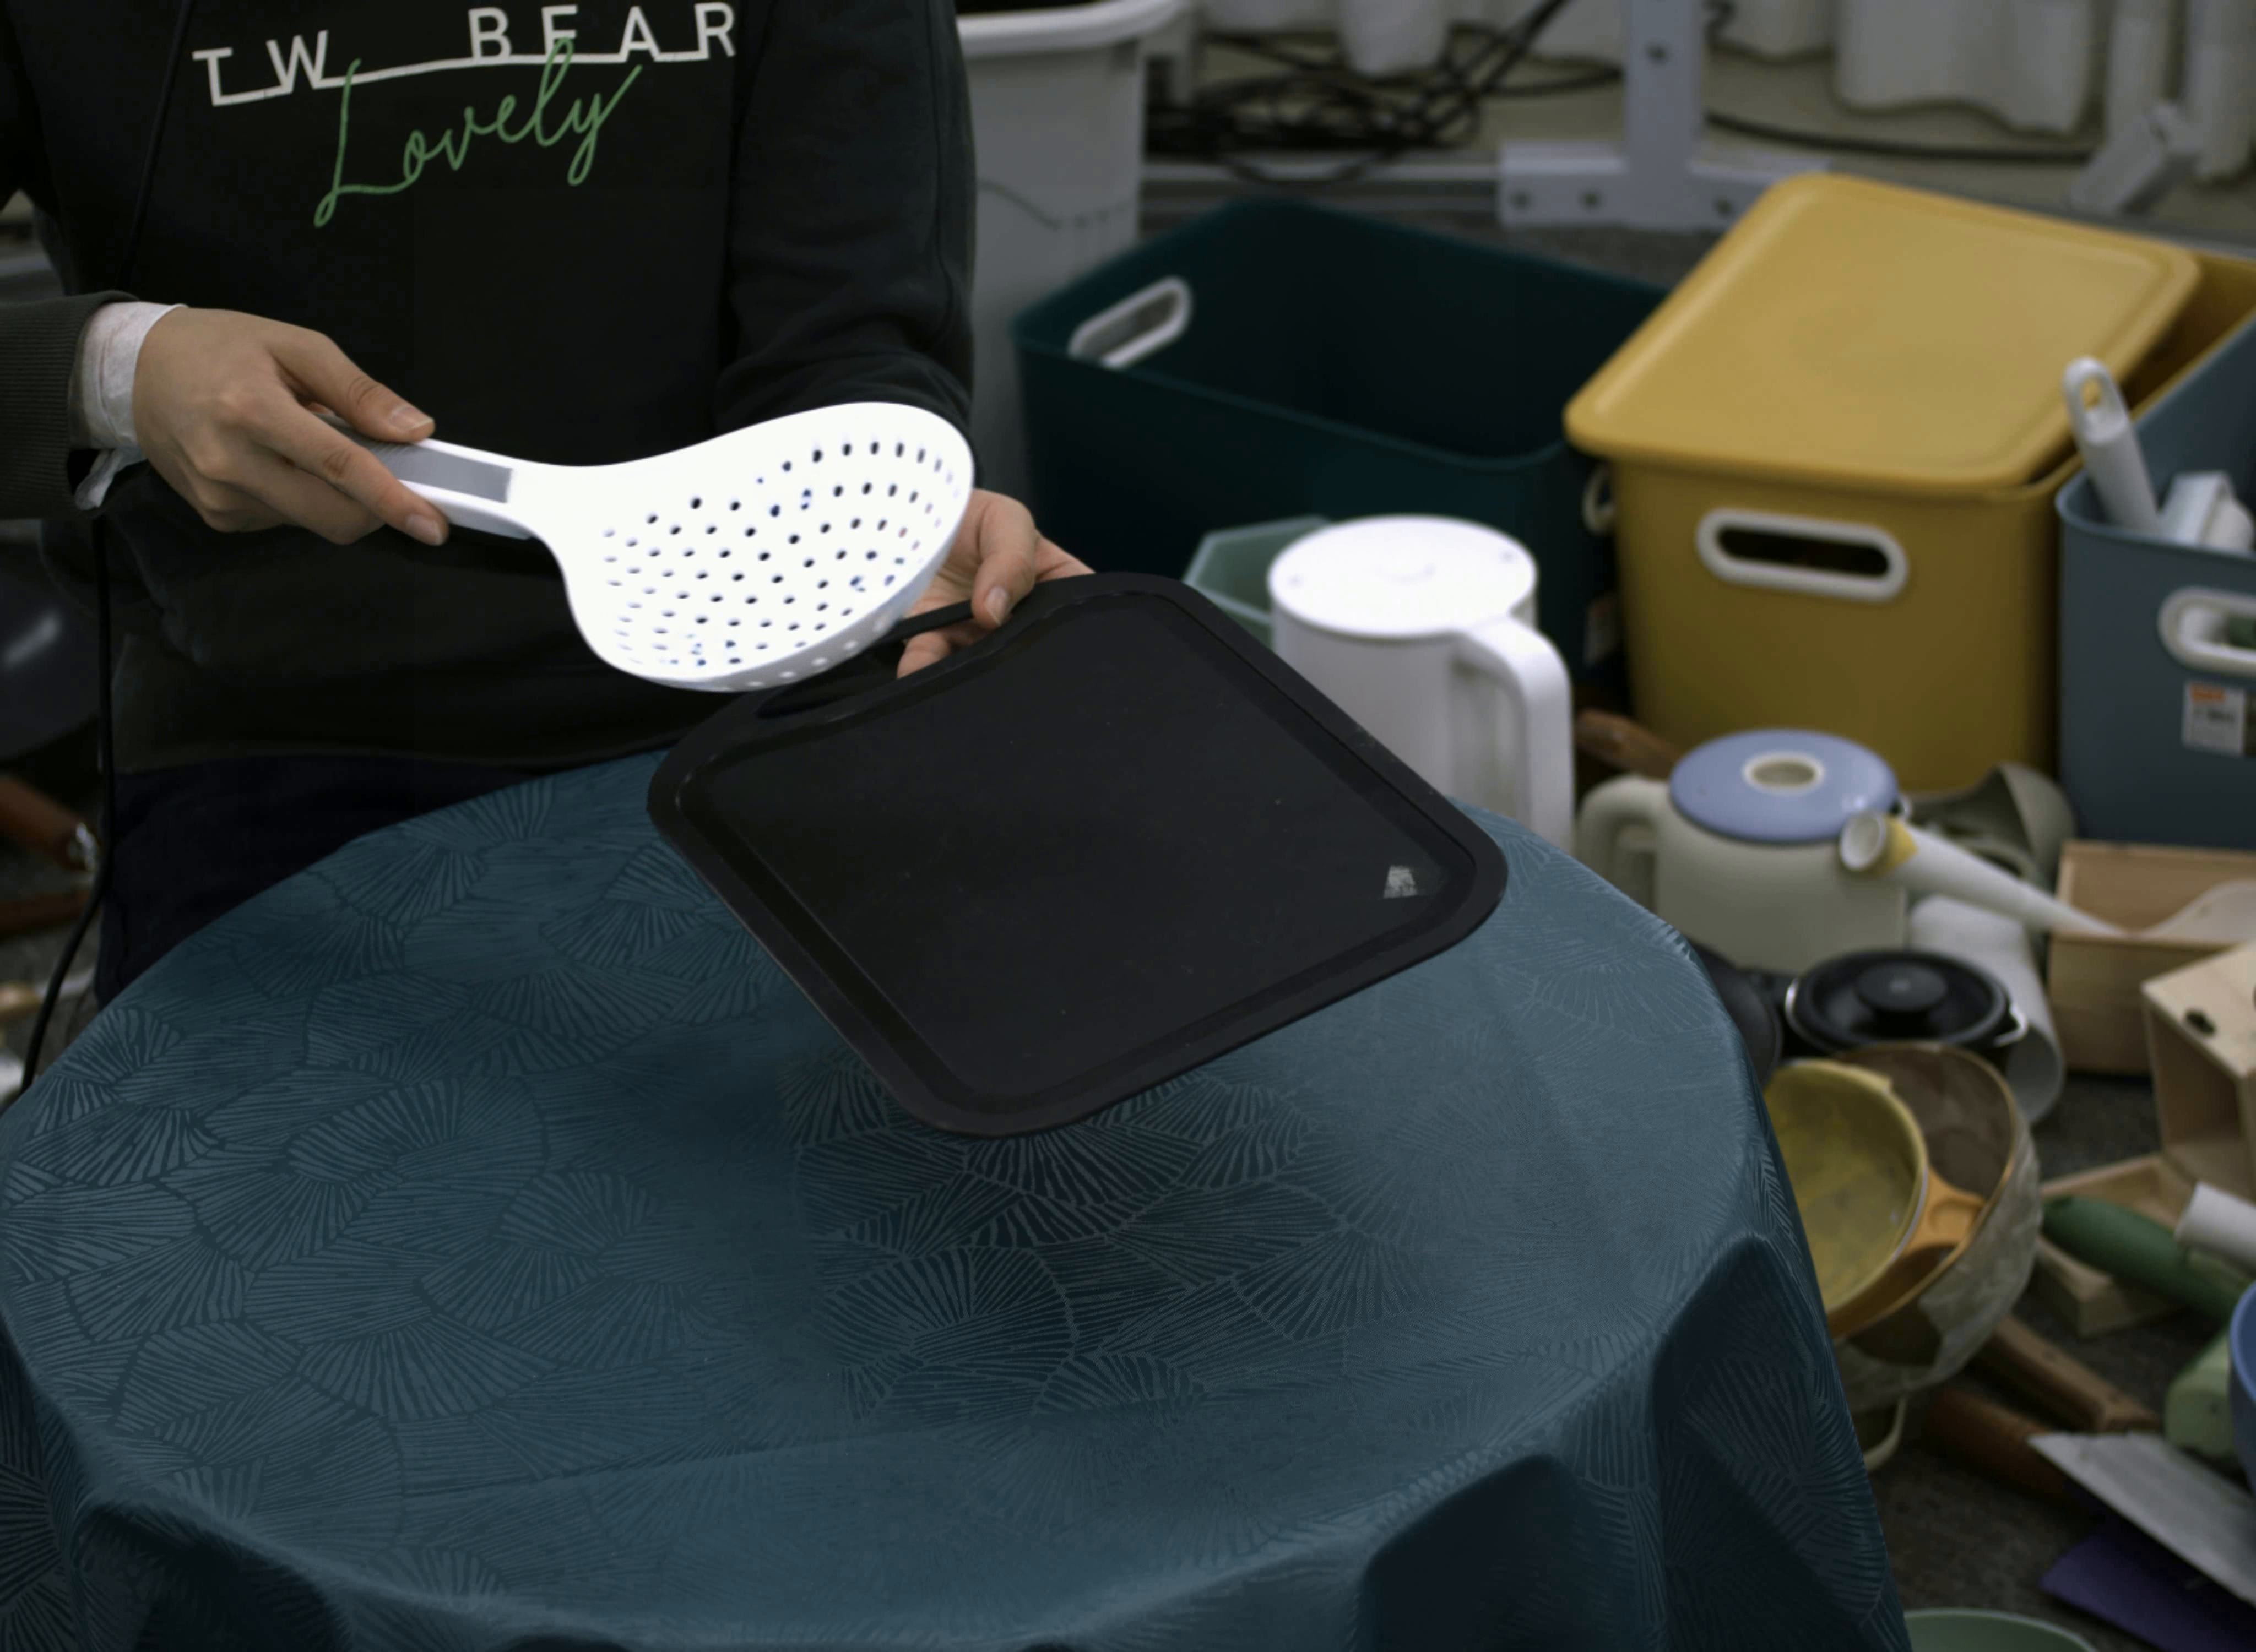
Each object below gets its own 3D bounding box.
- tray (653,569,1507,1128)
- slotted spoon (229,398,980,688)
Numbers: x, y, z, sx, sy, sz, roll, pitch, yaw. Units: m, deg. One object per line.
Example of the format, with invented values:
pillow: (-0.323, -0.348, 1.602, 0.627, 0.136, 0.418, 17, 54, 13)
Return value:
tray: (-0.026, -0.003, 1.843, 0.212, 0.009, 0.327, -24, 32, -15)
slotted spoon: (-0.186, -0.107, 1.879, 0.348, 0.045, 0.138, 18, 51, 39)
